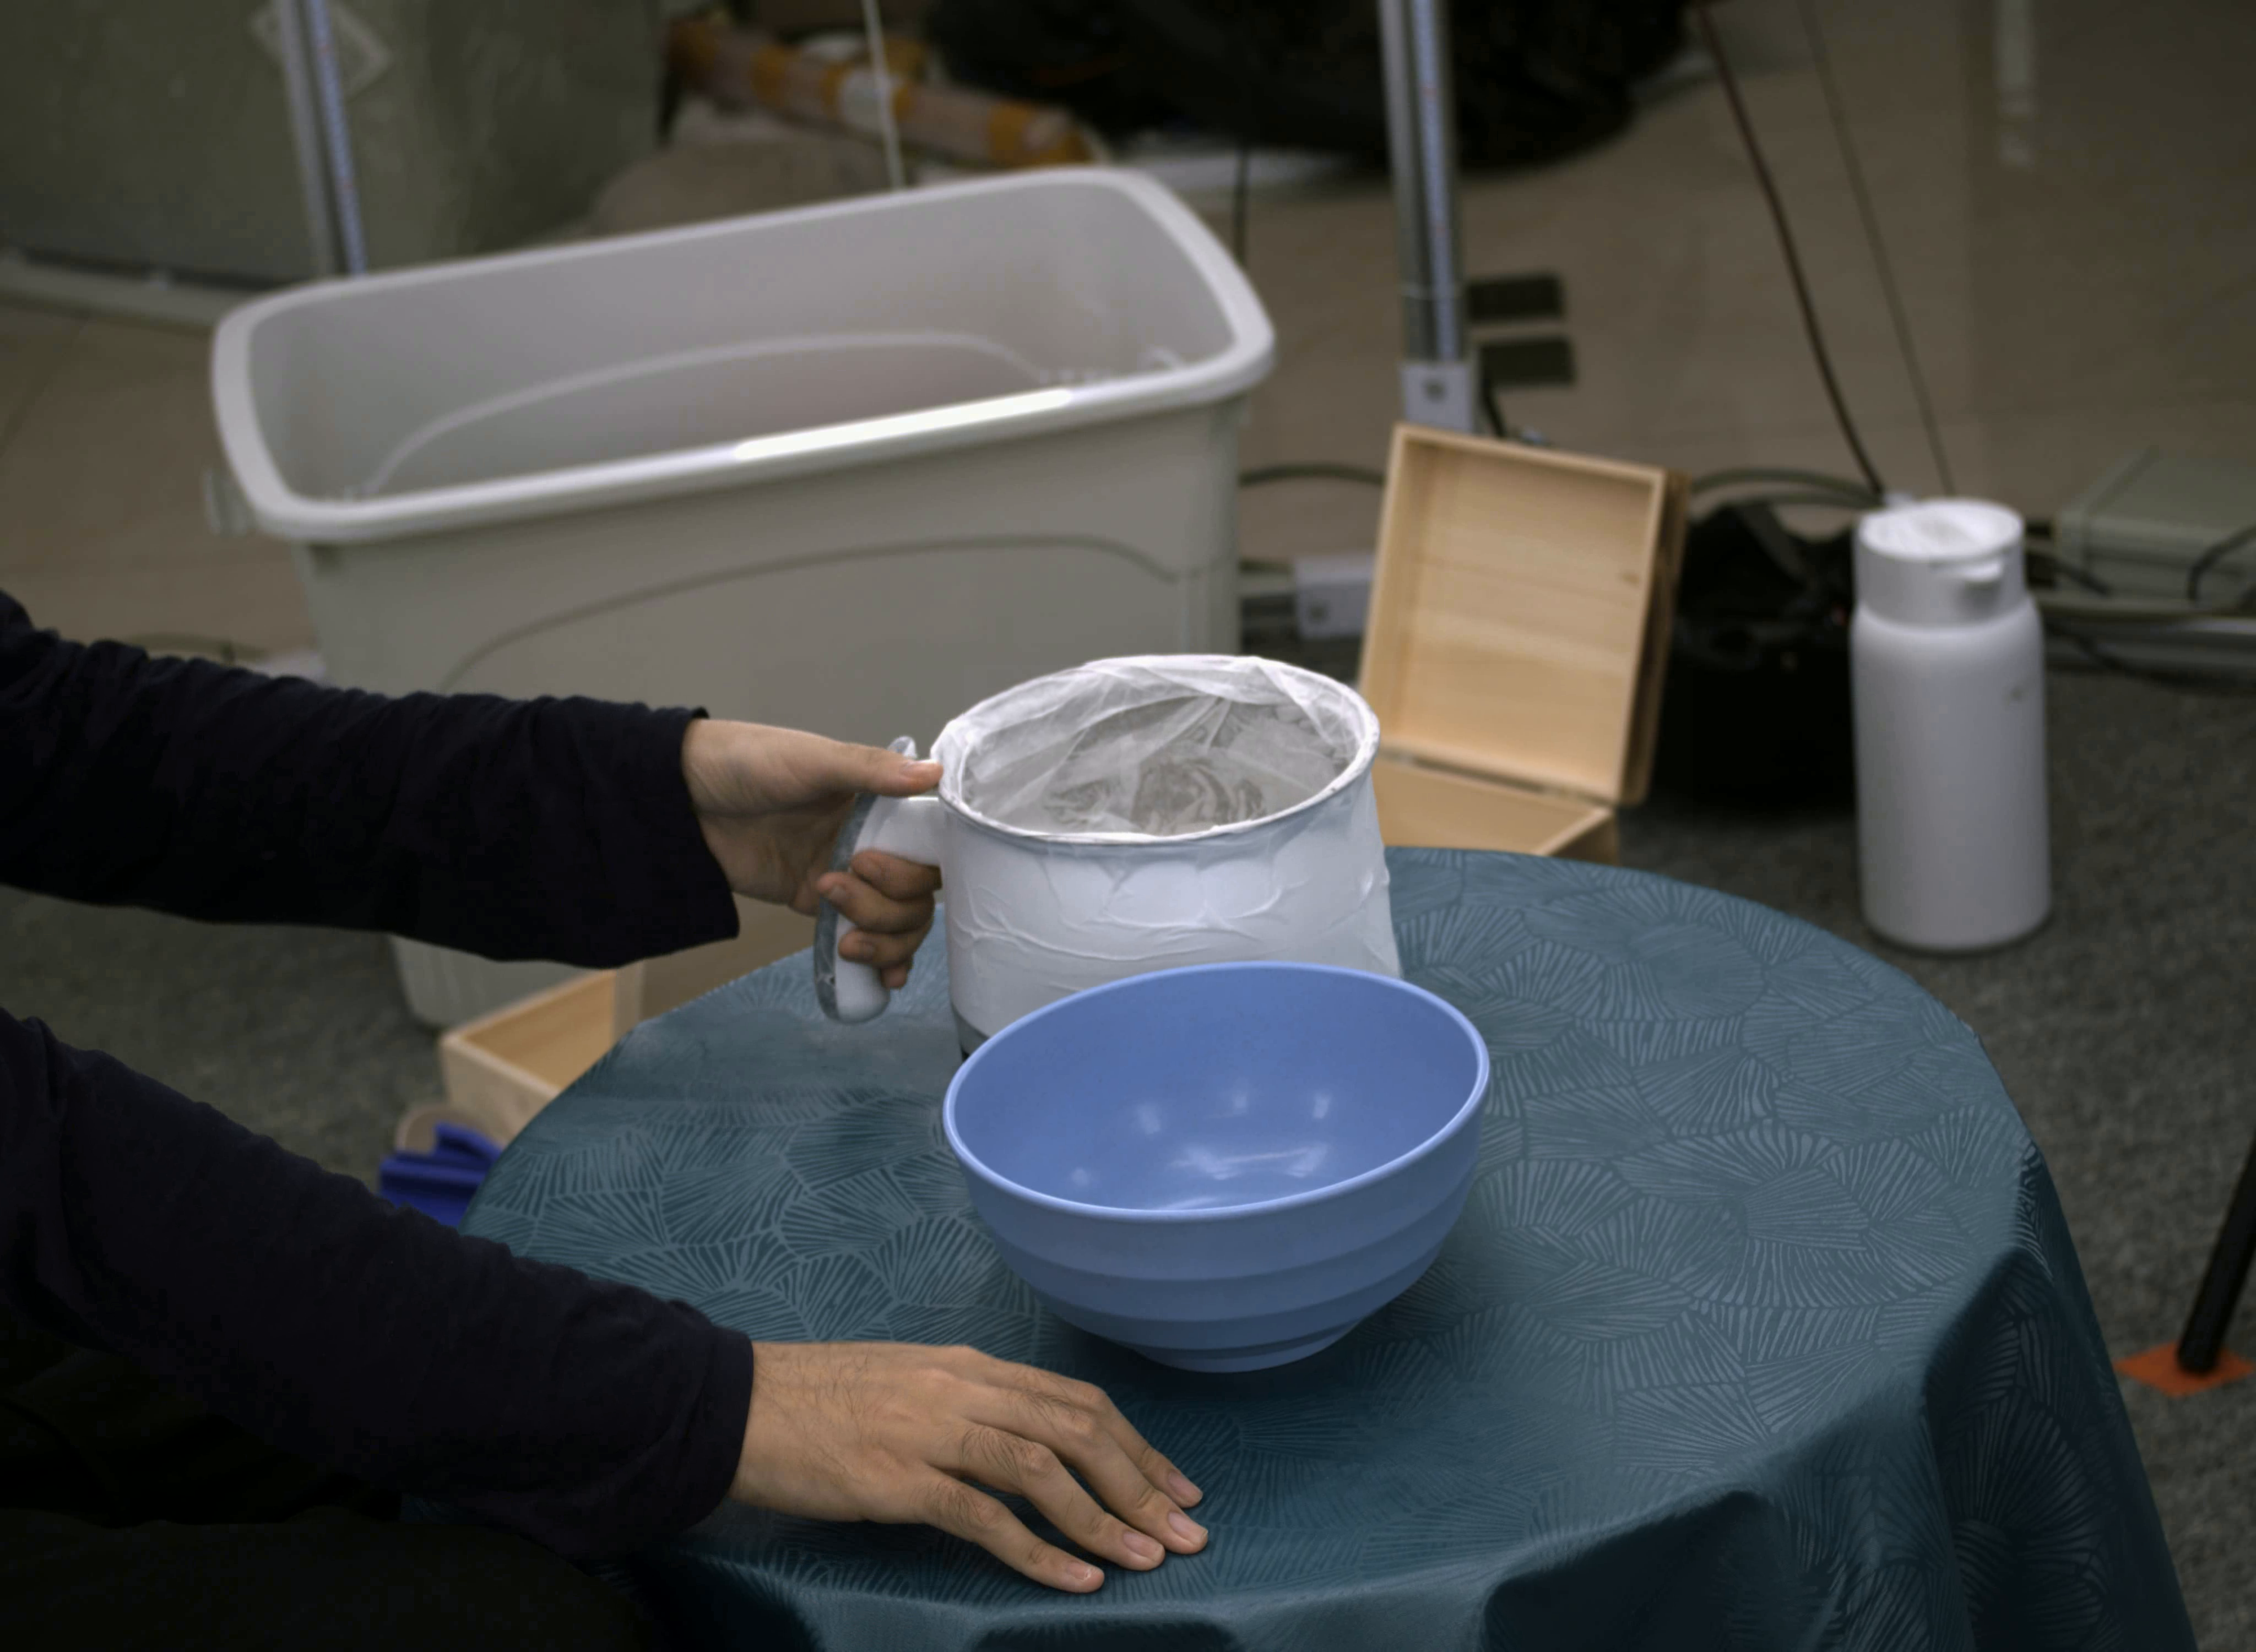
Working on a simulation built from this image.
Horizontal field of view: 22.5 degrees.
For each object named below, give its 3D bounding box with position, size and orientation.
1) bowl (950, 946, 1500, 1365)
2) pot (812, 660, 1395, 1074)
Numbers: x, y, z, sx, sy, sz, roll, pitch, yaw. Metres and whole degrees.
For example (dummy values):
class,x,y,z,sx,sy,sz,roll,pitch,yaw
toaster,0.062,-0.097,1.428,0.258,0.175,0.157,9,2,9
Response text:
class,x,y,z,sx,sy,sz,roll,pitch,yaw
bowl,0.036,0.130,2.040,0.196,0.097,0.193,-2,28,1
pot,-0.012,0.026,2.228,0.233,0.138,0.176,-1,23,8
